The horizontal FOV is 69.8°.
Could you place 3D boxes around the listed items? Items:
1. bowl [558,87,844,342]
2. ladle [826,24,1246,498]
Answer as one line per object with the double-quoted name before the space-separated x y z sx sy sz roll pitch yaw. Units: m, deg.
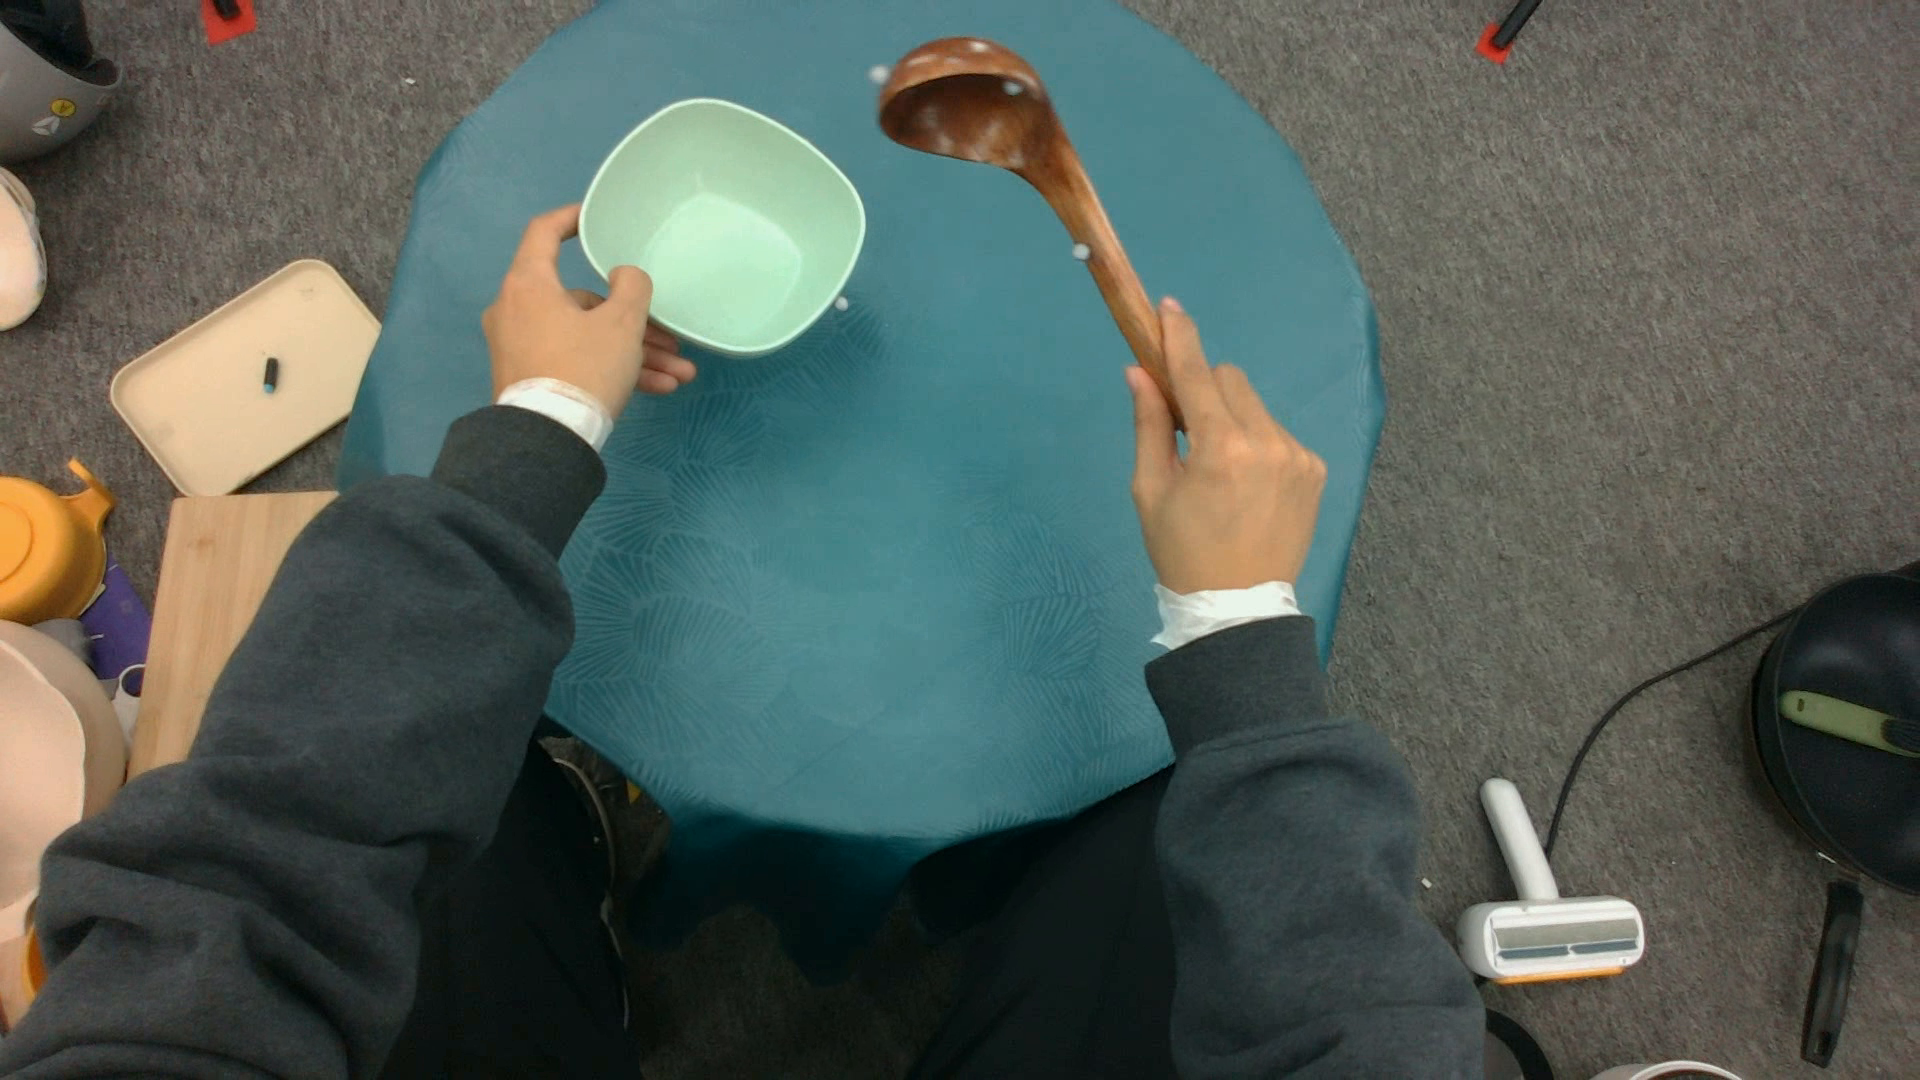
"bowl" -0.141 -0.167 0.753 0.151 0.058 0.152 5 69 -14
"ladle" 0.038 -0.118 0.642 0.077 0.081 0.274 -37 99 -23
